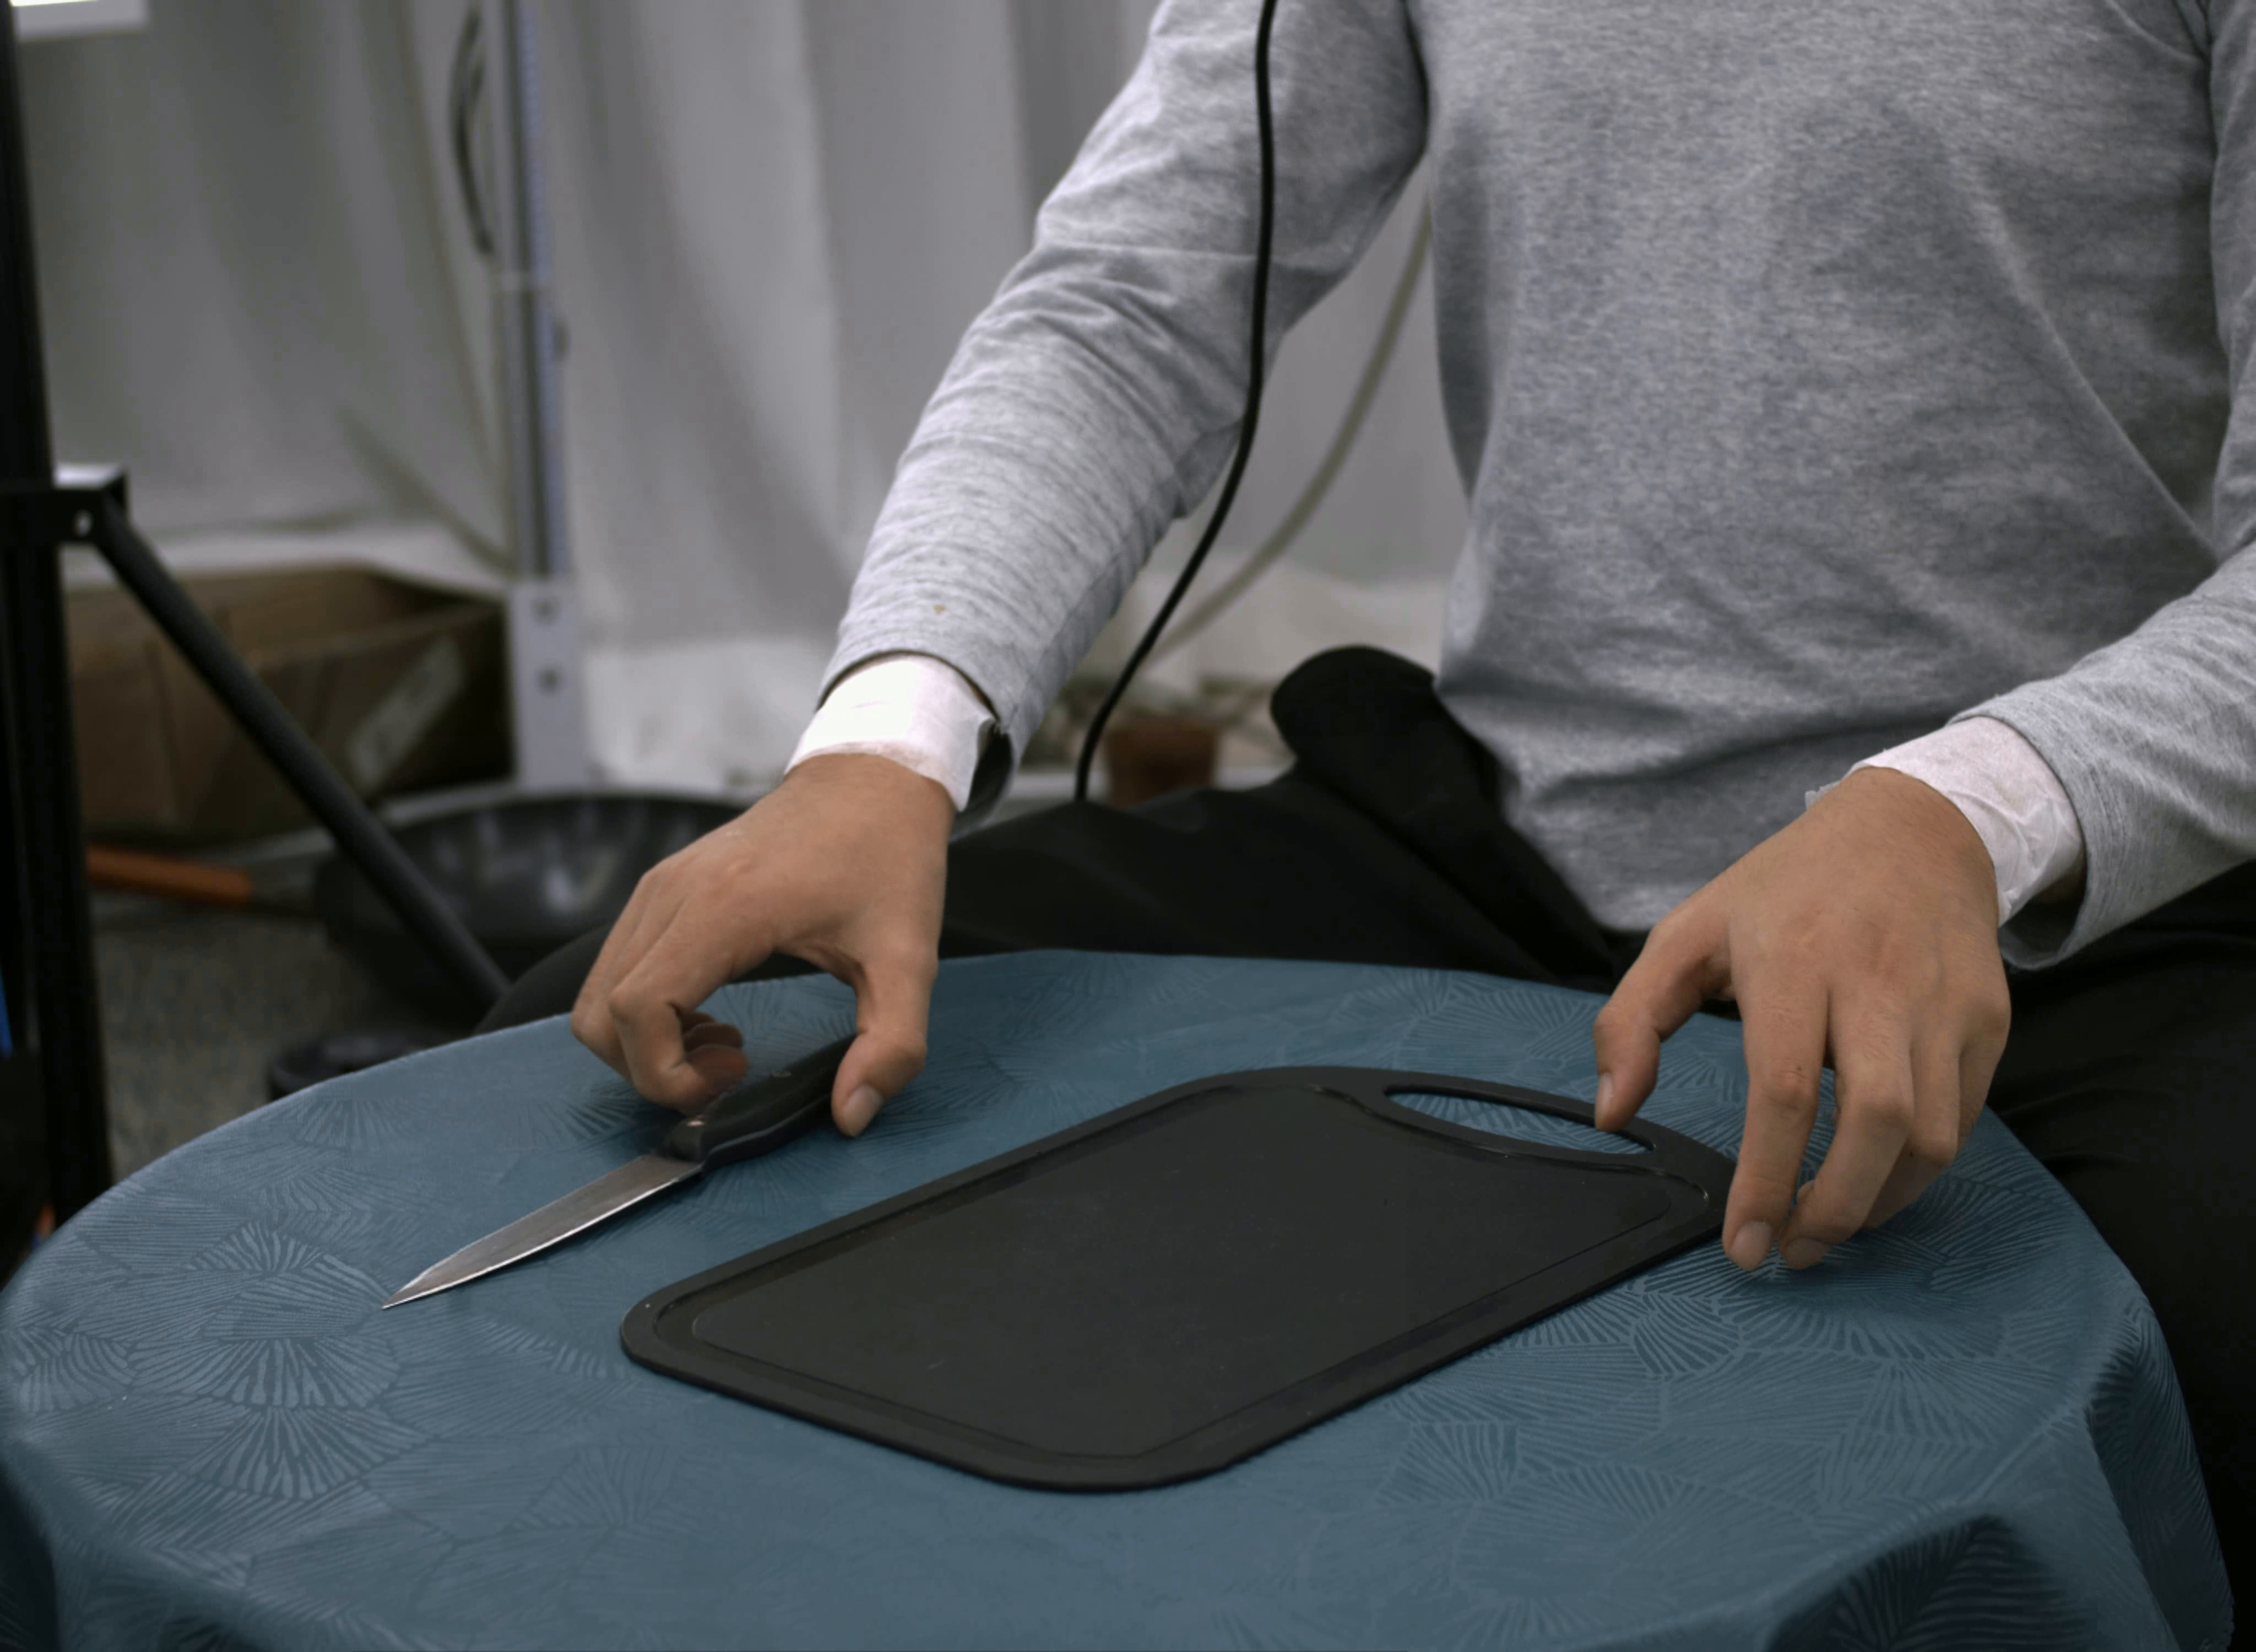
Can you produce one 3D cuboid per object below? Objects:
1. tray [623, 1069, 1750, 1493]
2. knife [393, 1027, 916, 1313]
[{"bbox_3d":[0.026,0.119,1.507,0.216,0.010,0.318,12,21,42],"label":"tray"},{"bbox_3d":[-0.140,0.102,1.585,0.025,0.016,0.233,7,21,35],"label":"knife"}]
